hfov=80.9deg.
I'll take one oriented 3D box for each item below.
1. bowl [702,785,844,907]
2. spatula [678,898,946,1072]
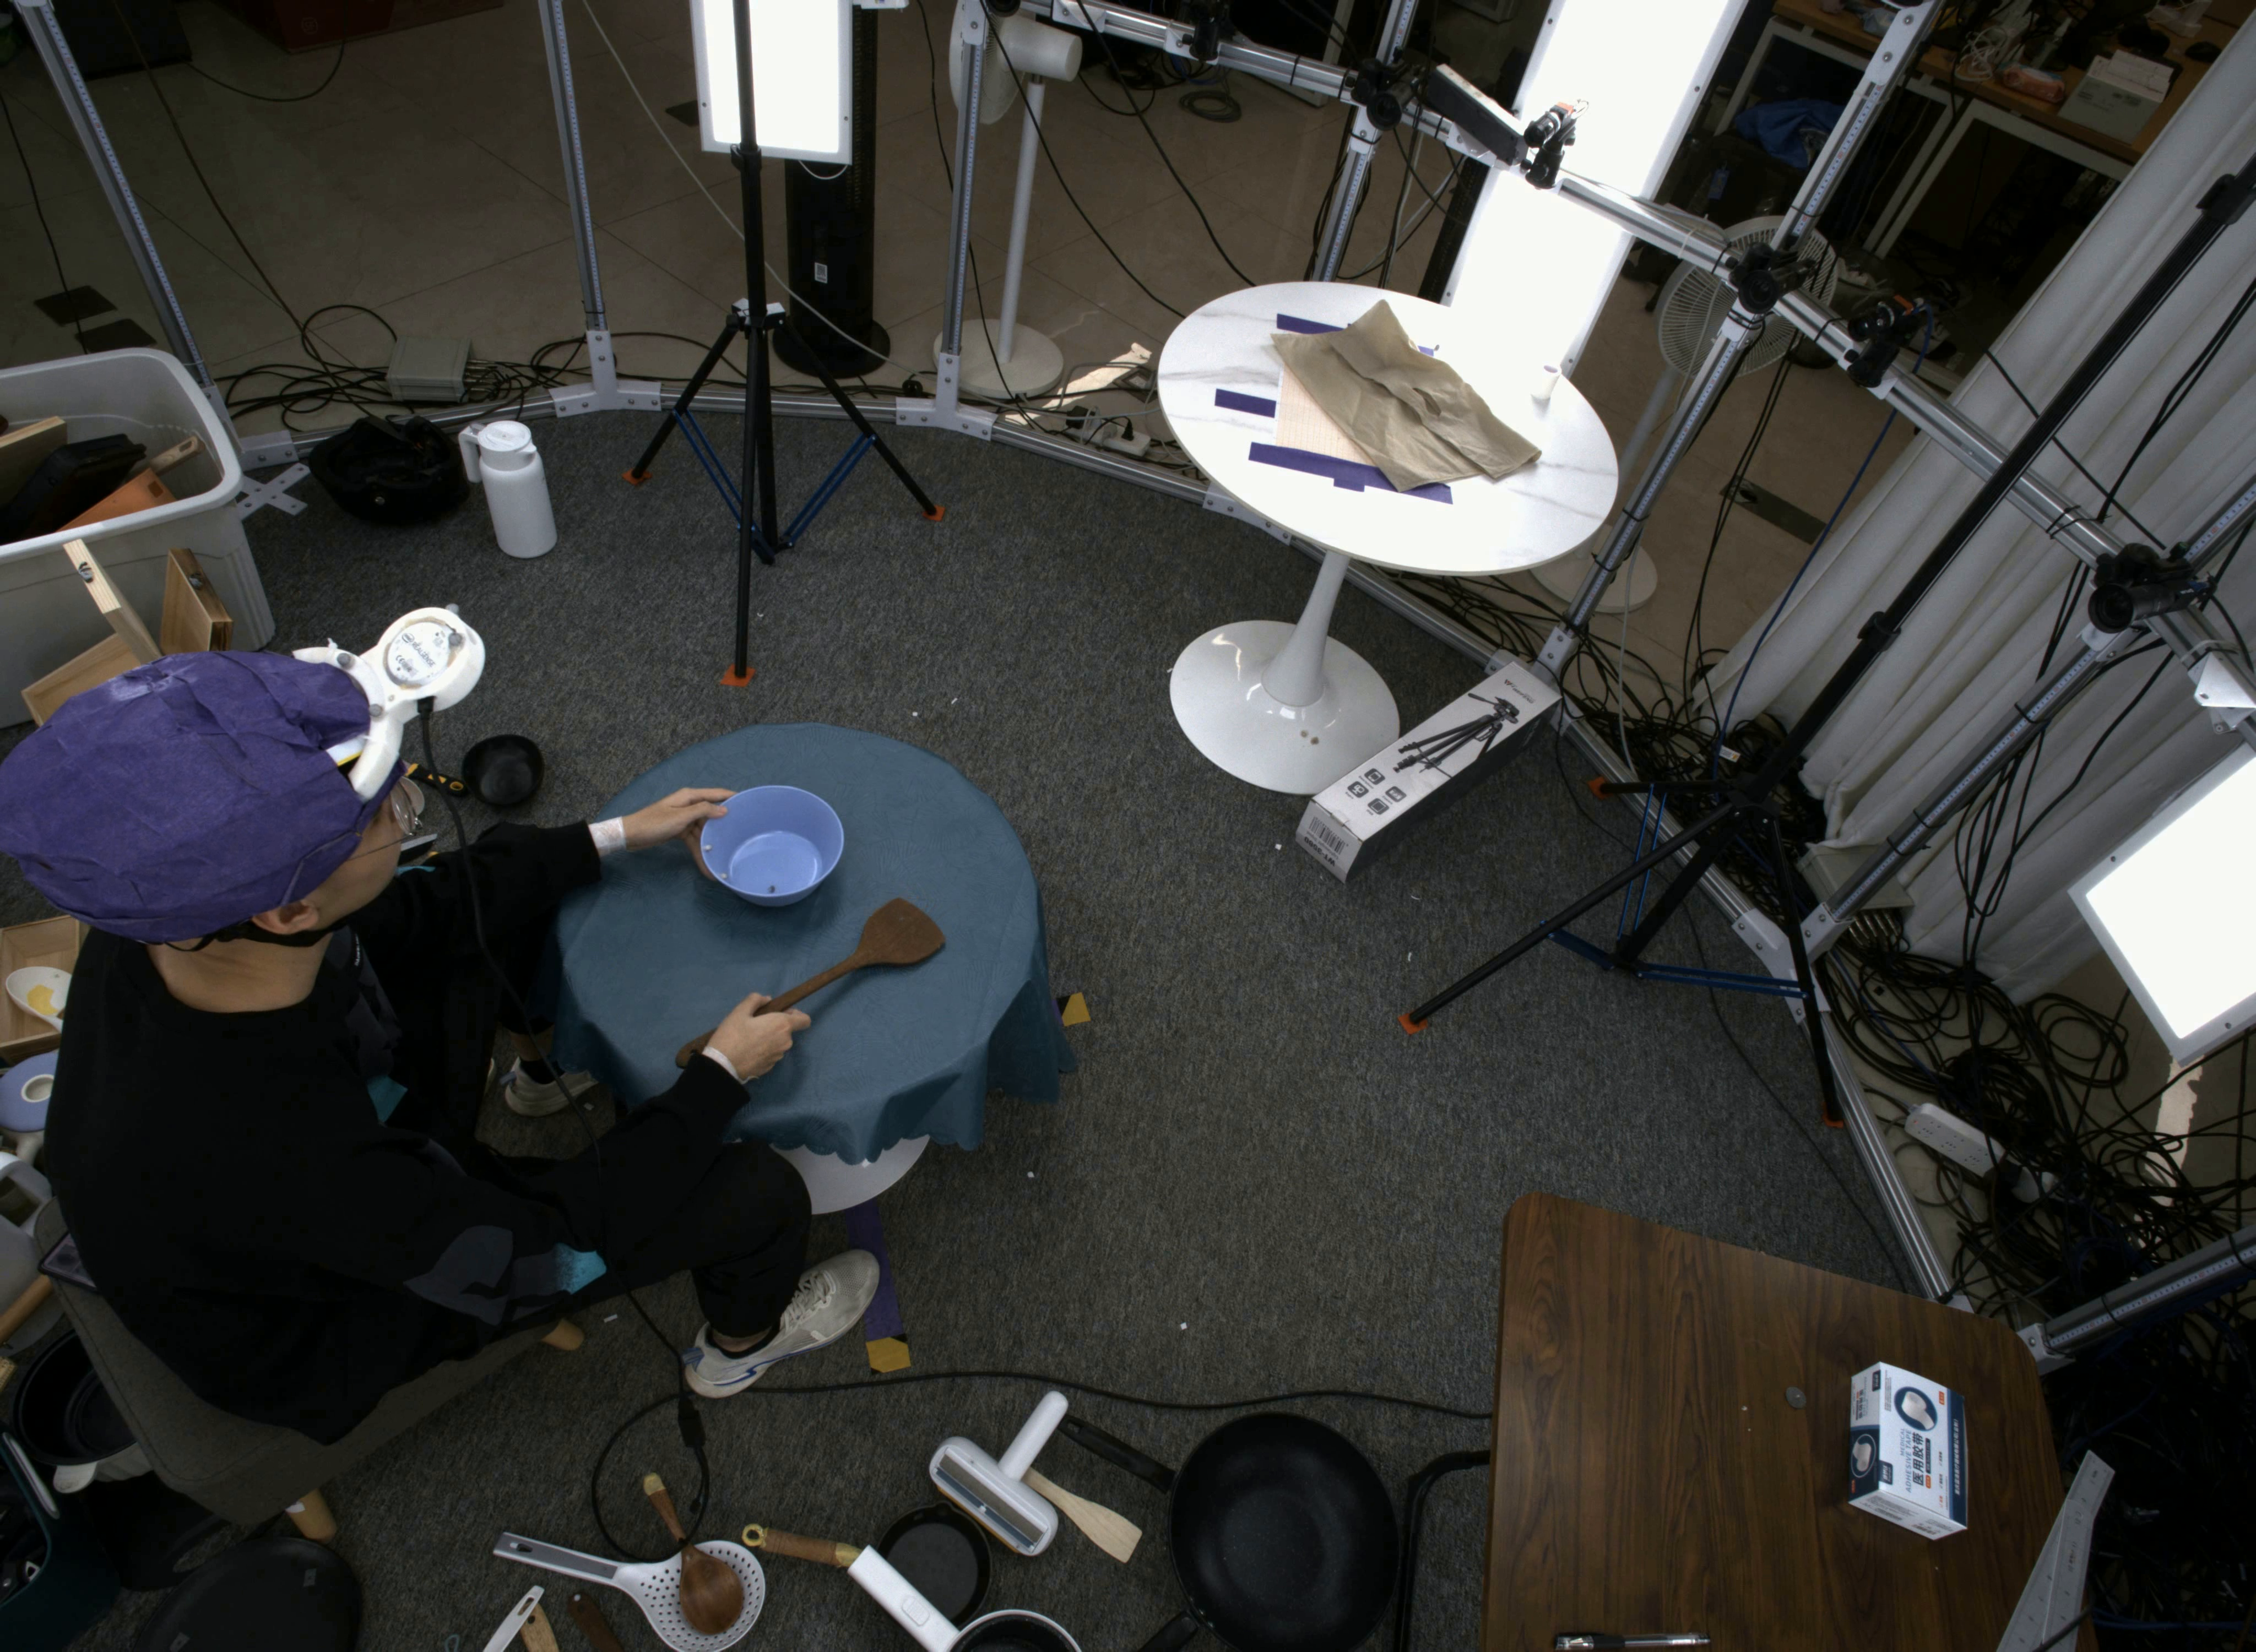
[{"bbox_3d":[-0.449,0.035,1.650,0.175,0.072,0.173,6,52,-6],"label":"bowl"},{"bbox_3d":[-0.376,0.189,1.552,0.094,0.016,0.388,42,43,16],"label":"spatula"}]
